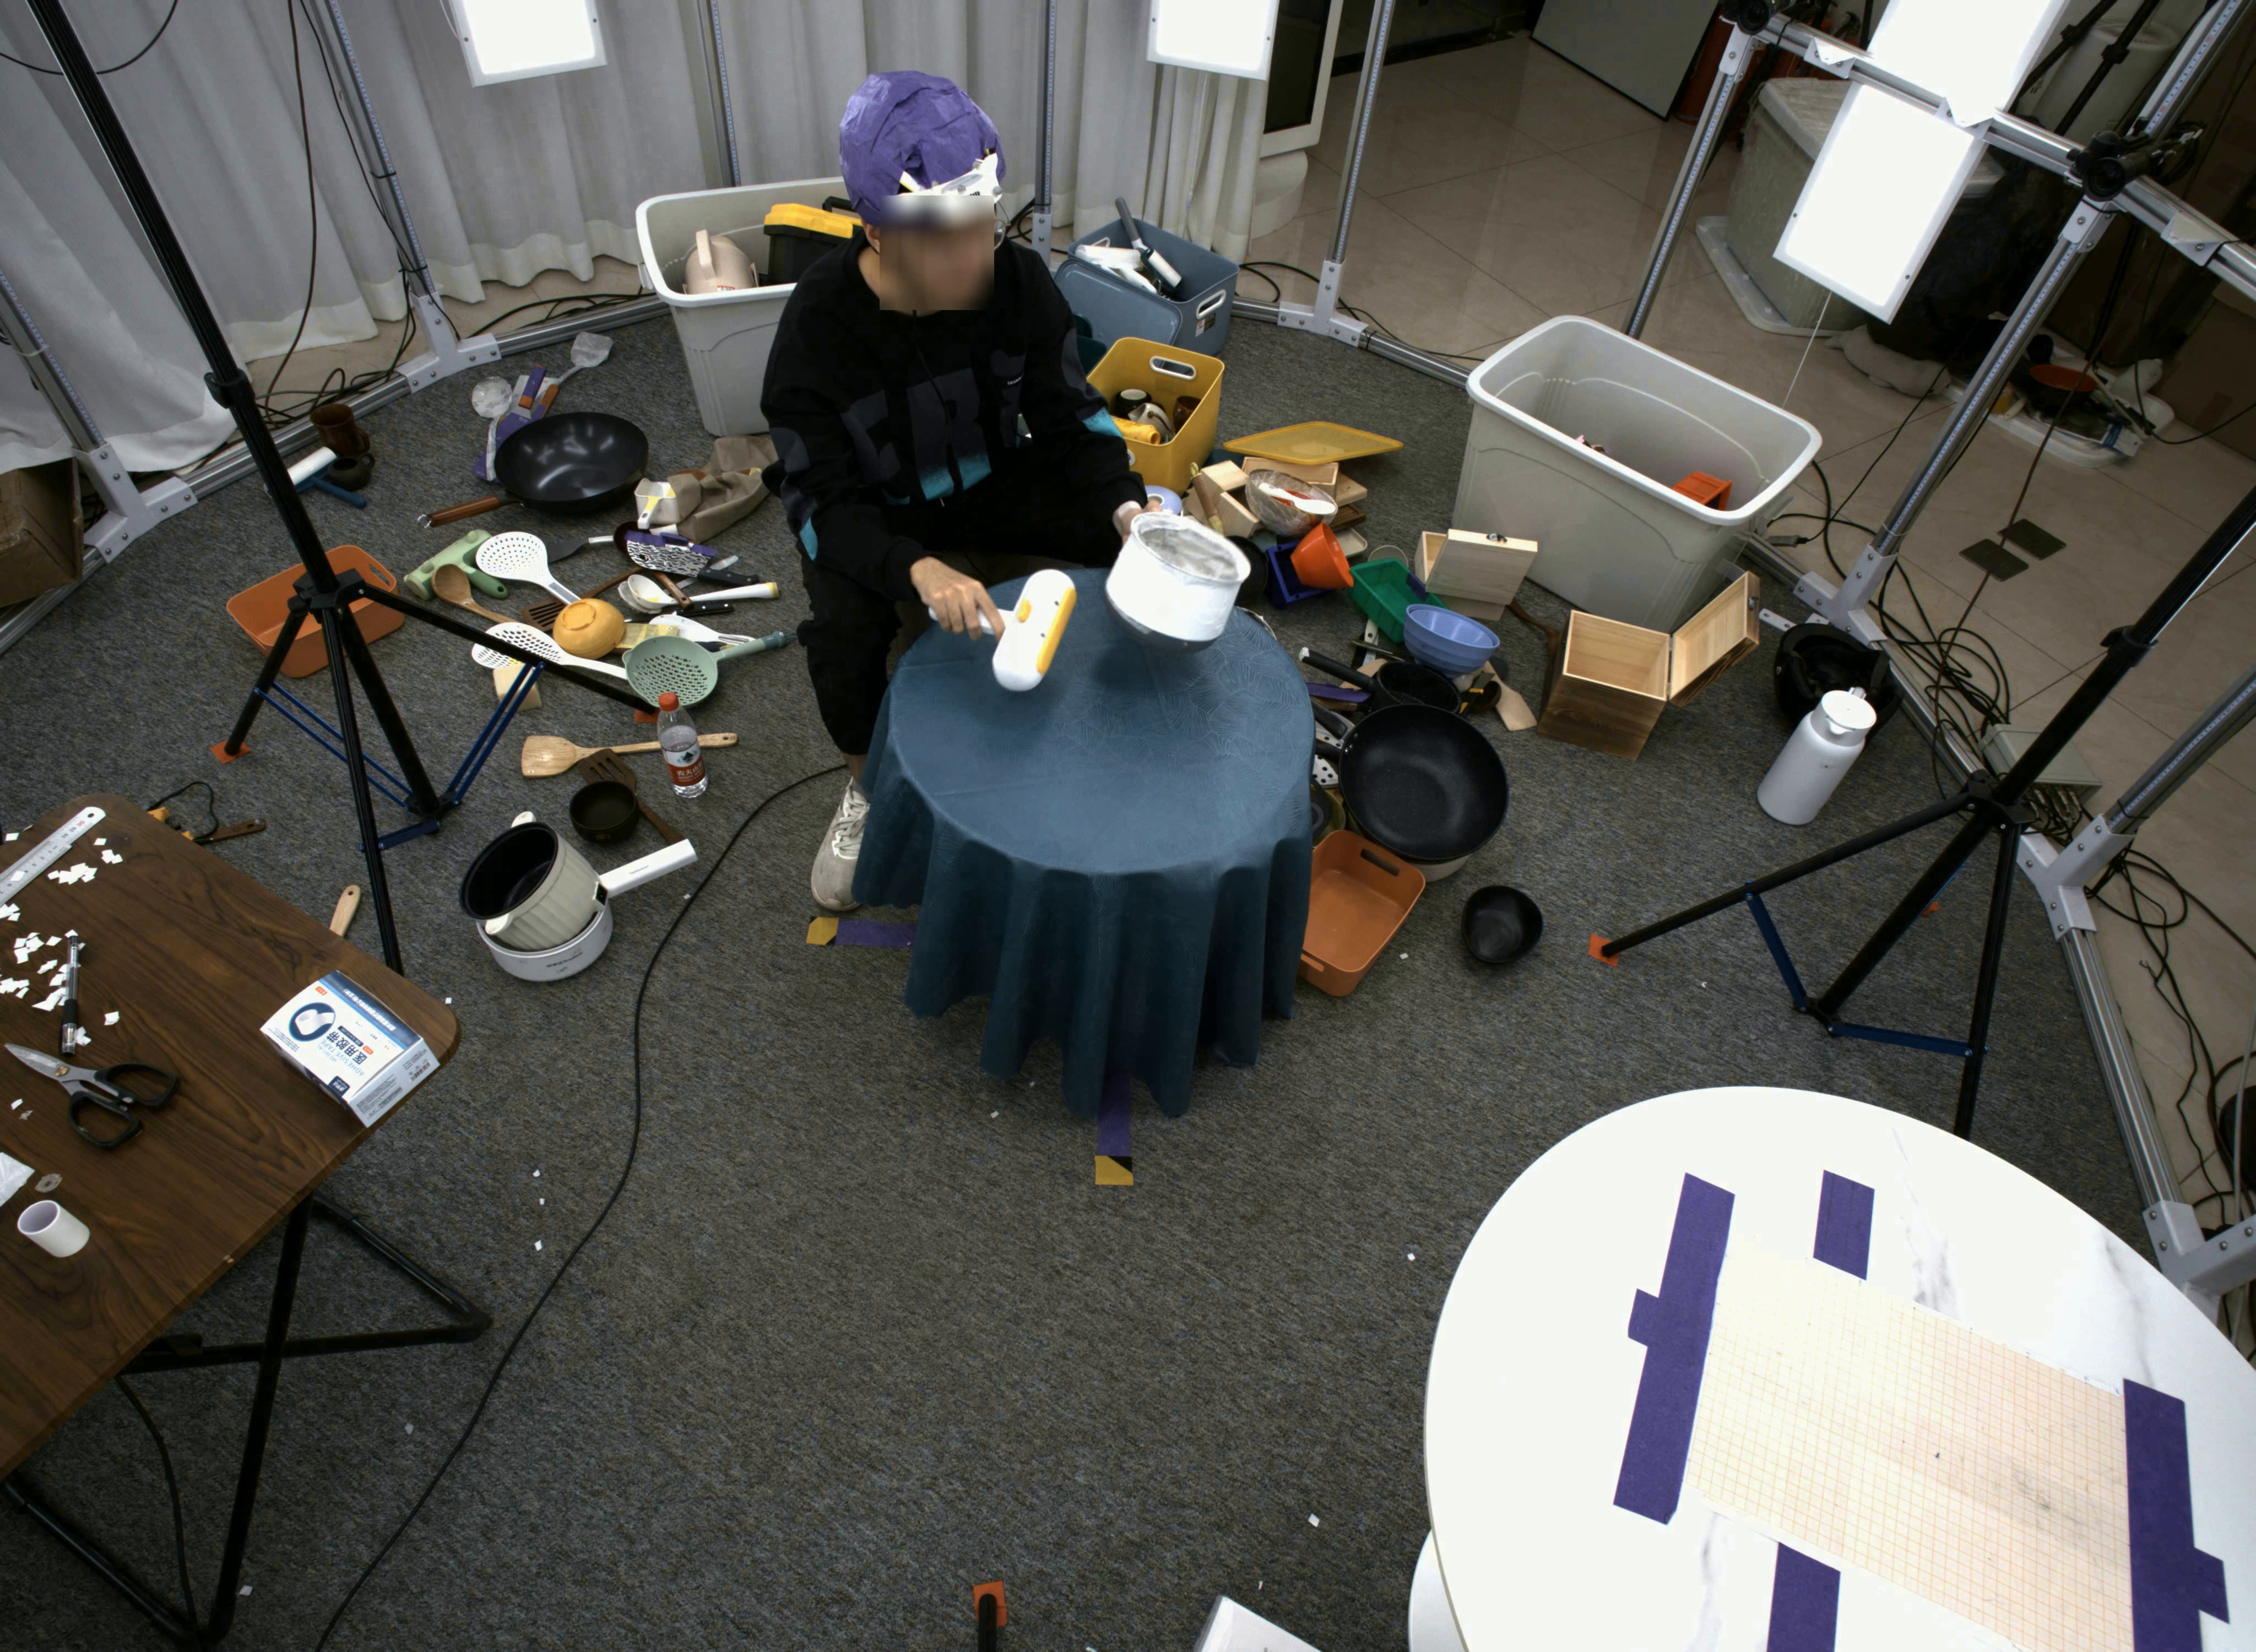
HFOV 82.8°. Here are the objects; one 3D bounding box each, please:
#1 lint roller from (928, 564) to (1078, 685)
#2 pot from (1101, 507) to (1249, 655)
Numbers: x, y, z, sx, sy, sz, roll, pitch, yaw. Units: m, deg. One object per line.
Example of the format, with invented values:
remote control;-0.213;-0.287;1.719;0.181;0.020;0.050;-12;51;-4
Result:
lint roller;-0.180;-0.287;1.778;0.193;0.072;0.196;5;60;17
pot;0.053;-0.353;1.809;0.177;0.134;0.239;9;37;-29
